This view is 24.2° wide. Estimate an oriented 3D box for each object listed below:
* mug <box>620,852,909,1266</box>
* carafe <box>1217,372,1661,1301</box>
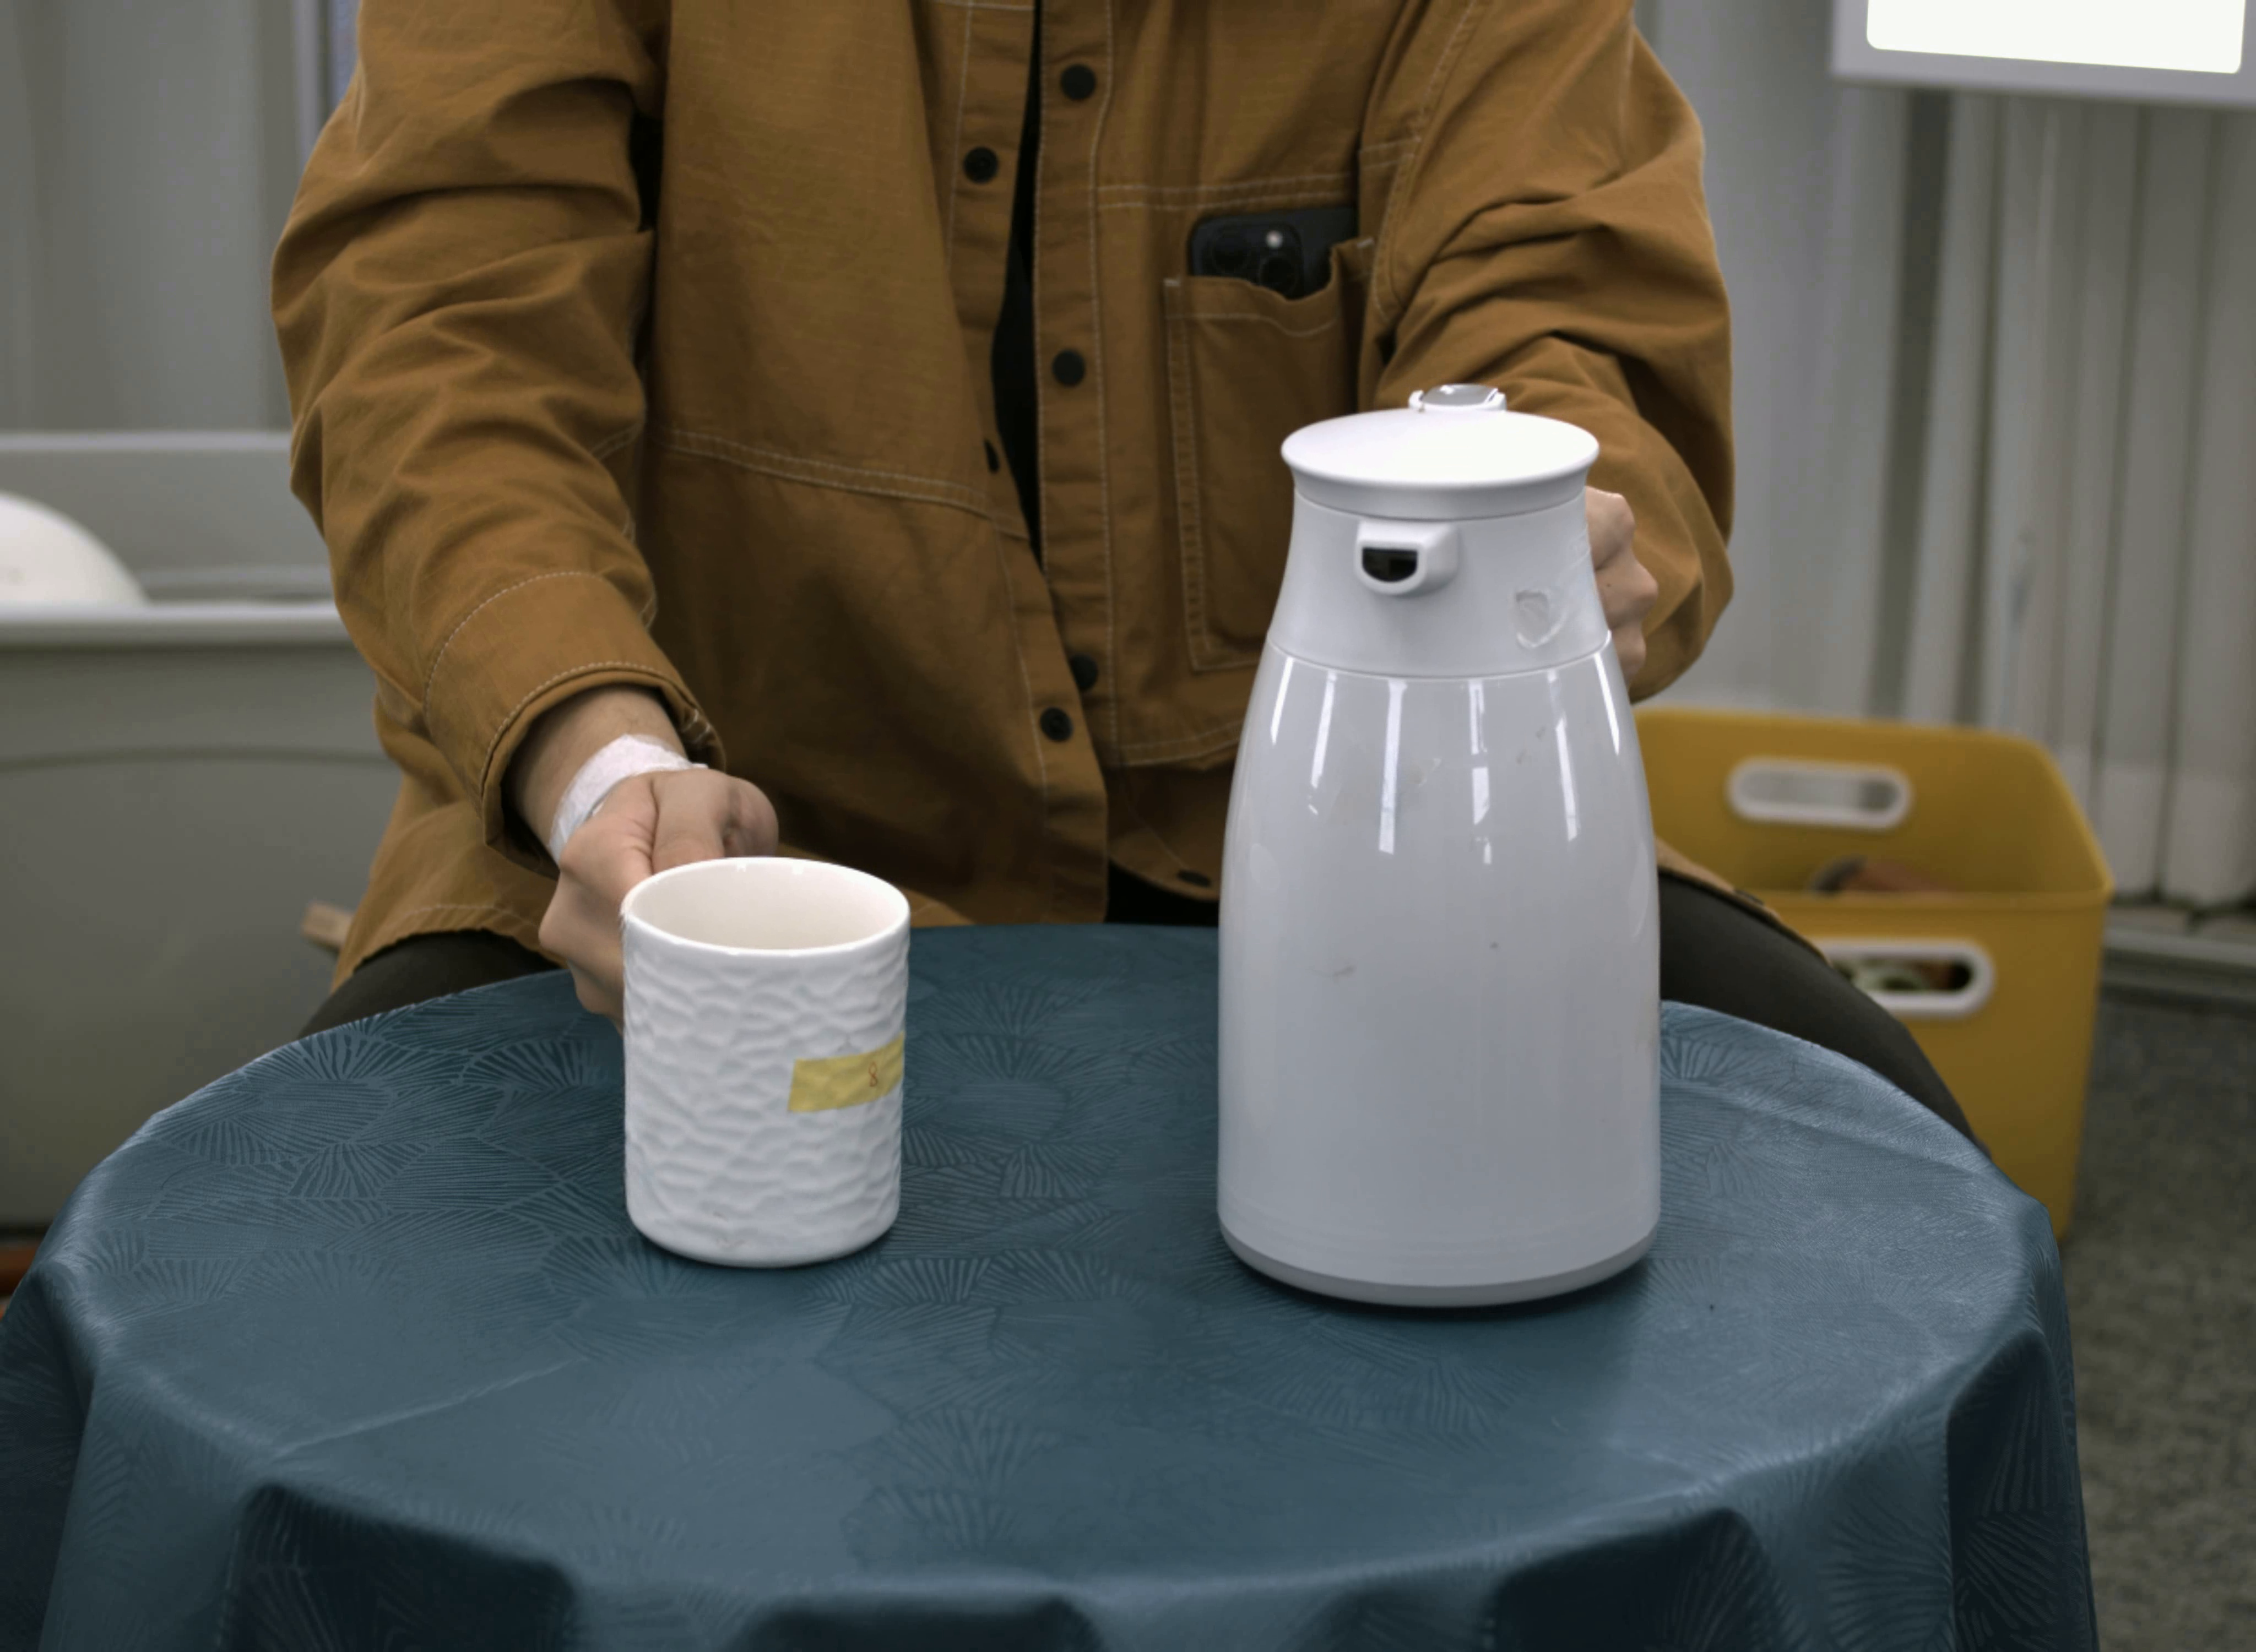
[{"bbox_3d":[-0.116,0.065,1.584,0.085,0.103,0.117,-7,21,-25],"label":"mug"},{"bbox_3d":[0.094,-0.006,1.554,0.131,0.251,0.167,3,18,14],"label":"carafe"}]
